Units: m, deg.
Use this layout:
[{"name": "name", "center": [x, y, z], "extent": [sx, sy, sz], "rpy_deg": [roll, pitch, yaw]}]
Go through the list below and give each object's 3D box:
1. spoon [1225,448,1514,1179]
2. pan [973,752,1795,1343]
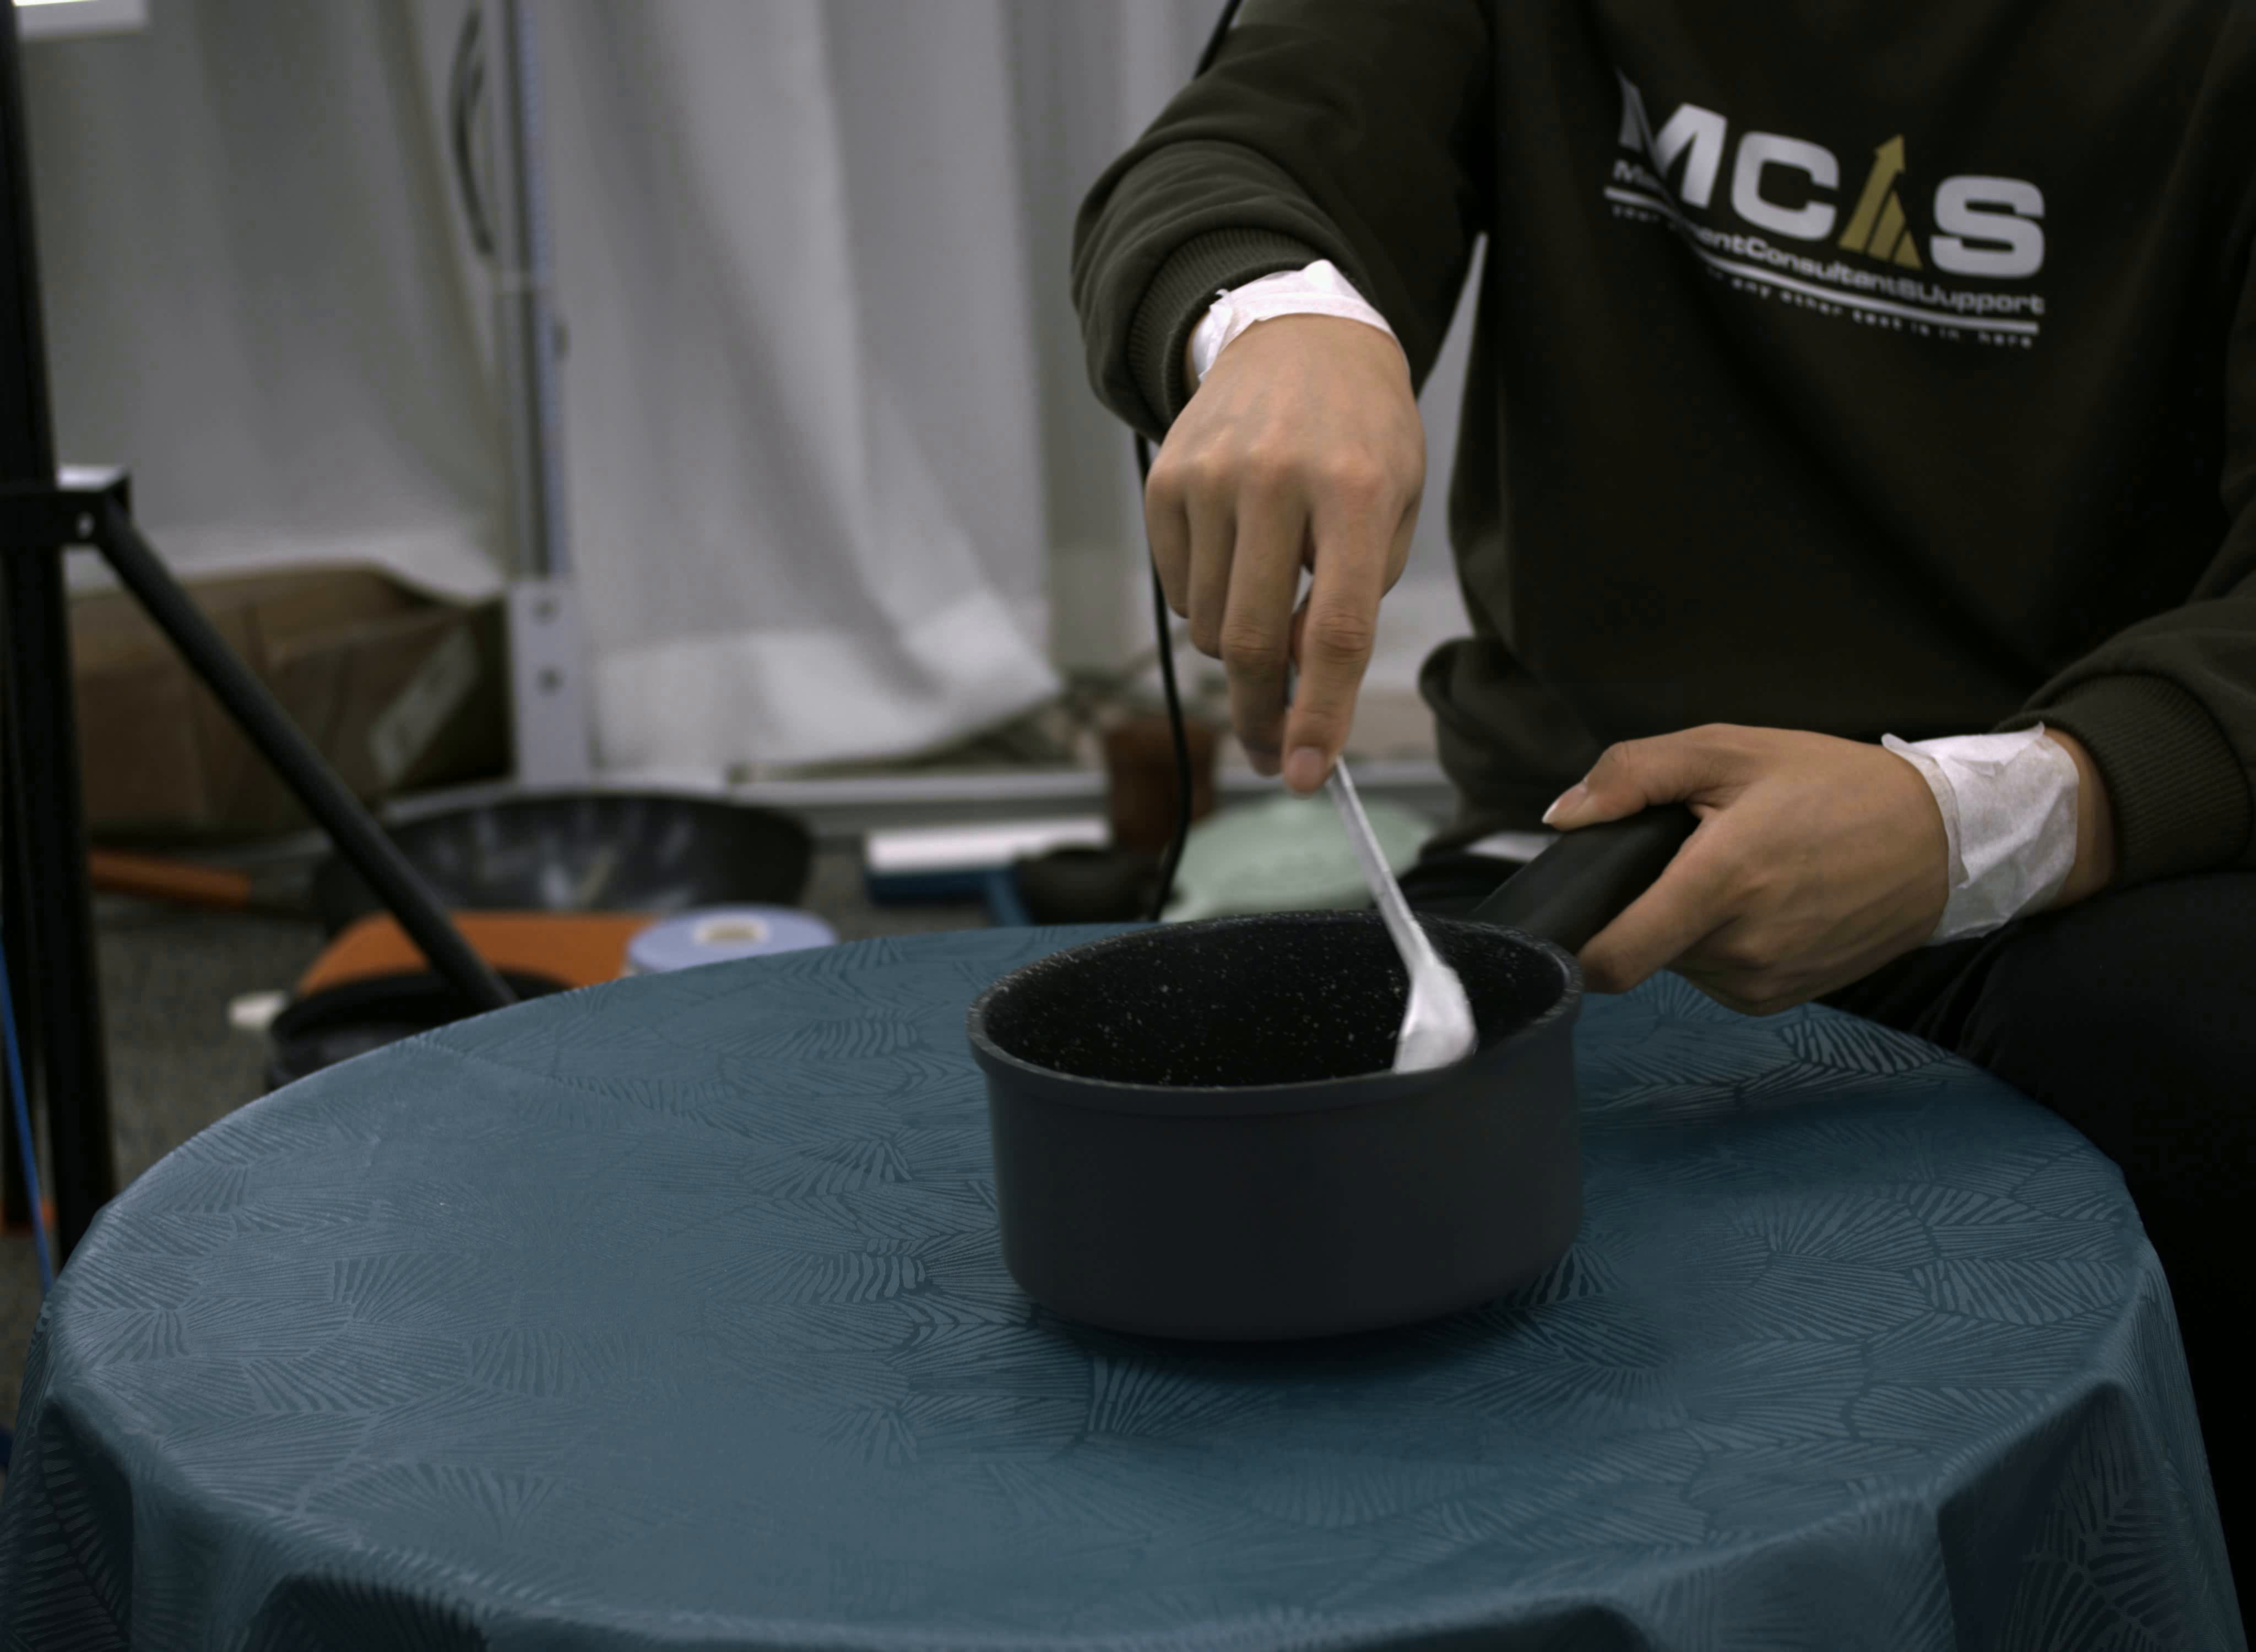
[{"name": "spoon", "center": [0.052, -0.007, 1.500], "extent": [0.058, 0.101, 0.282], "rpy_deg": [-4, 50, -22]}, {"name": "pan", "center": [0.093, 0.060, 1.525], "extent": [0.175, 0.086, 0.322], "rpy_deg": [8, 21, 39]}]
